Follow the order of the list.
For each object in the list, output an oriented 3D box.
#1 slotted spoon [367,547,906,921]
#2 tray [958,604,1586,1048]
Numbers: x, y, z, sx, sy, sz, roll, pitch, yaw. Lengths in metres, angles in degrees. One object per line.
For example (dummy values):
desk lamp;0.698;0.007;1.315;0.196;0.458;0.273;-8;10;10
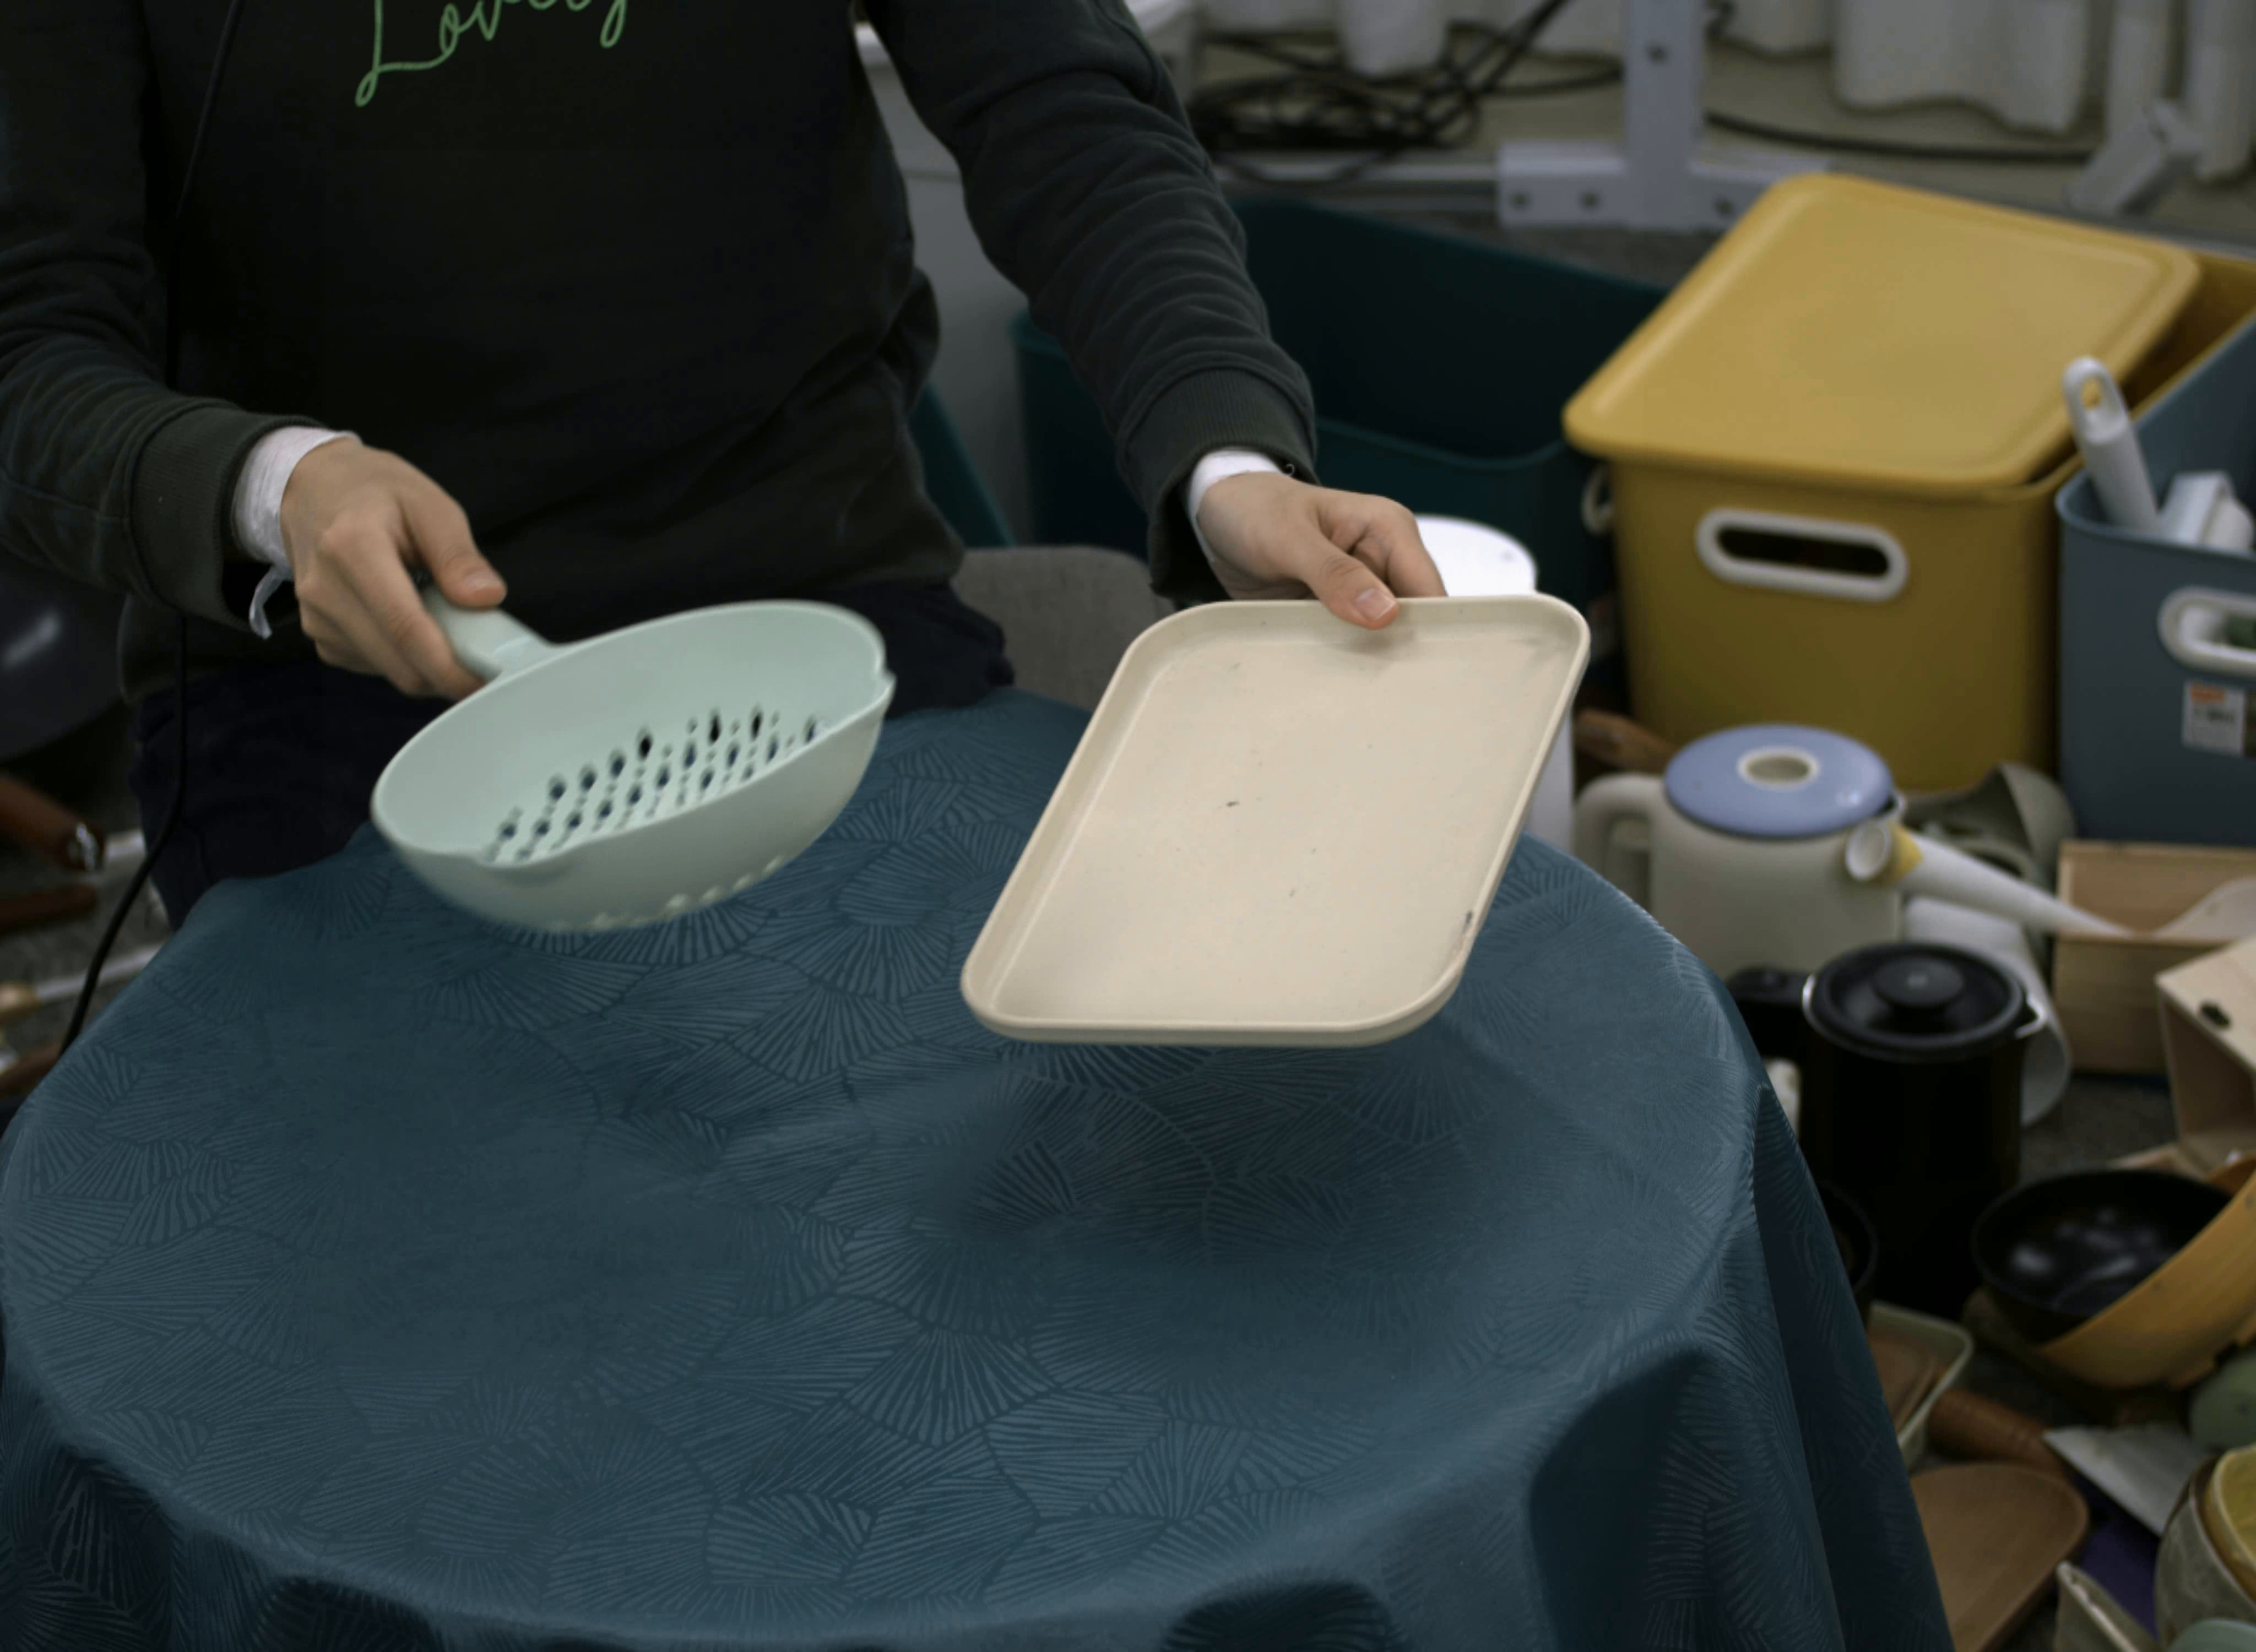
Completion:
slotted spoon;-0.193;-0.049;1.871;0.170;0.074;0.360;-24;31;-19
tray;0.051;0.000;1.867;0.170;0.017;0.244;-1;35;21
